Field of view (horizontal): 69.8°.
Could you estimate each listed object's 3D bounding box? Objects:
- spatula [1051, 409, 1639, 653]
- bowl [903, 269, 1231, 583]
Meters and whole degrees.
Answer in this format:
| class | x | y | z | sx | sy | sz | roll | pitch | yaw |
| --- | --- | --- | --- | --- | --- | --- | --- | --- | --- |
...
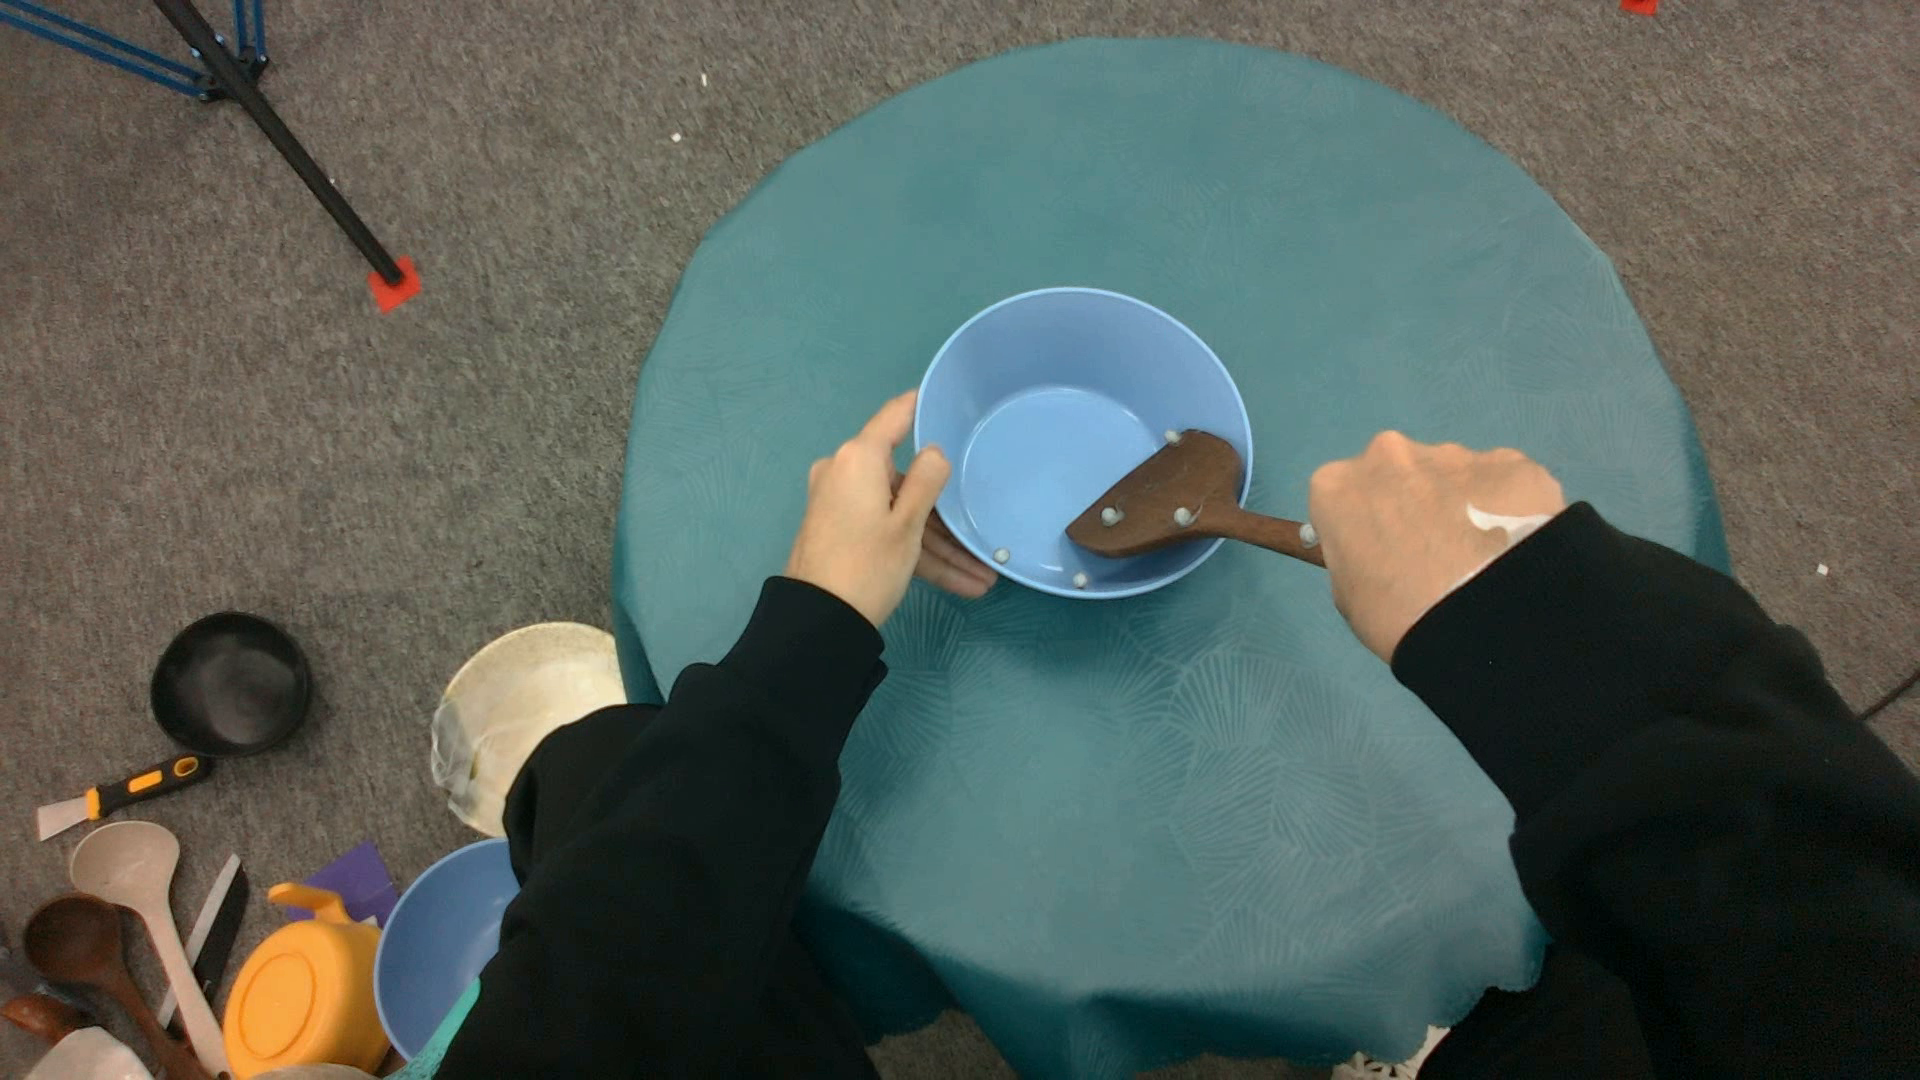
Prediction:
| class | x | y | z | sx | sy | sz | roll | pitch | yaw |
| --- | --- | --- | --- | --- | --- | --- | --- | --- | --- |
| spatula | 0.137 | -0.009 | 0.578 | 0.096 | 0.386 | 0.016 | -38 | 108 | -7 |
| bowl | 0.051 | -0.052 | 0.736 | 0.176 | 0.070 | 0.176 | 4 | 69 | -11 |
